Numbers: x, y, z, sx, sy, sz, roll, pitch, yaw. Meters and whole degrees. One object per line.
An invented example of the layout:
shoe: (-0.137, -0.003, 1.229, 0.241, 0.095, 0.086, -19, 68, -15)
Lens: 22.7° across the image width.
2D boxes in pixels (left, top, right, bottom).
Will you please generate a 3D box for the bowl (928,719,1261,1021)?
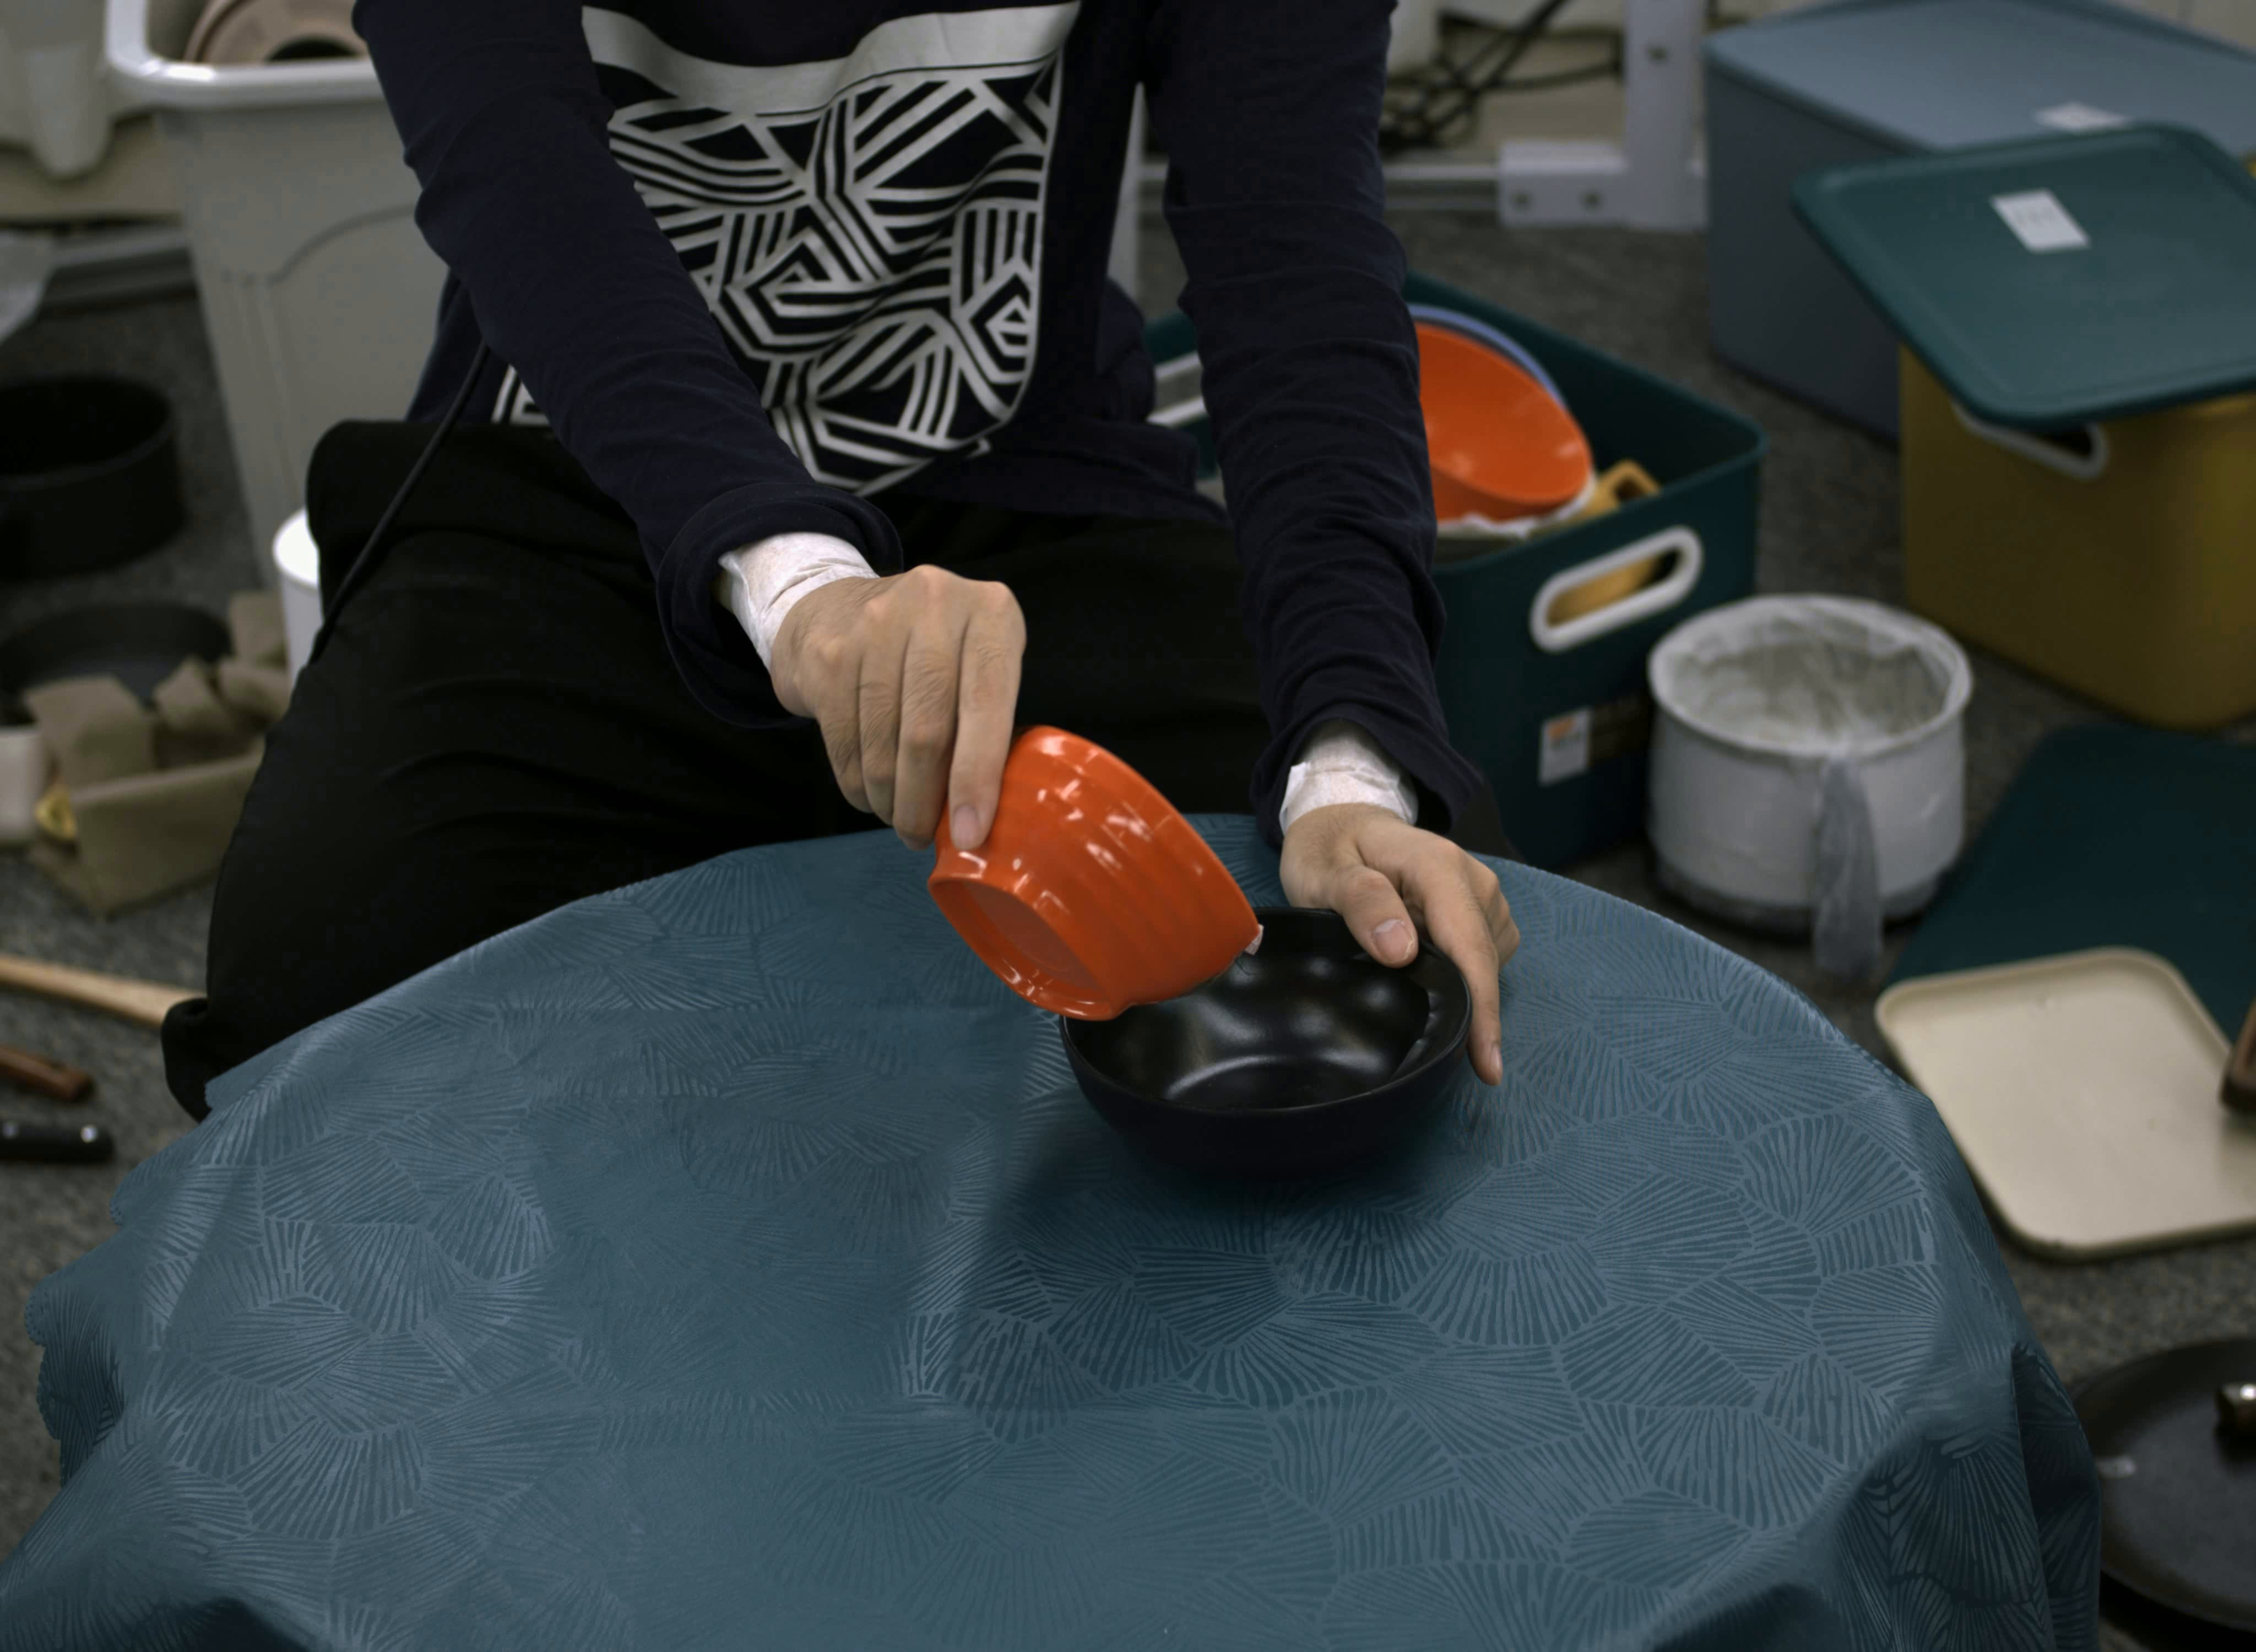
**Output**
bowl: (-0.020, 0.021, 1.802, 0.119, 0.117, 0.052, 23, 65, 40)

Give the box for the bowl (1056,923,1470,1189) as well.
bowl: (0.046, 0.084, 1.883, 0.139, 0.049, 0.142, -3, 23, 2)
